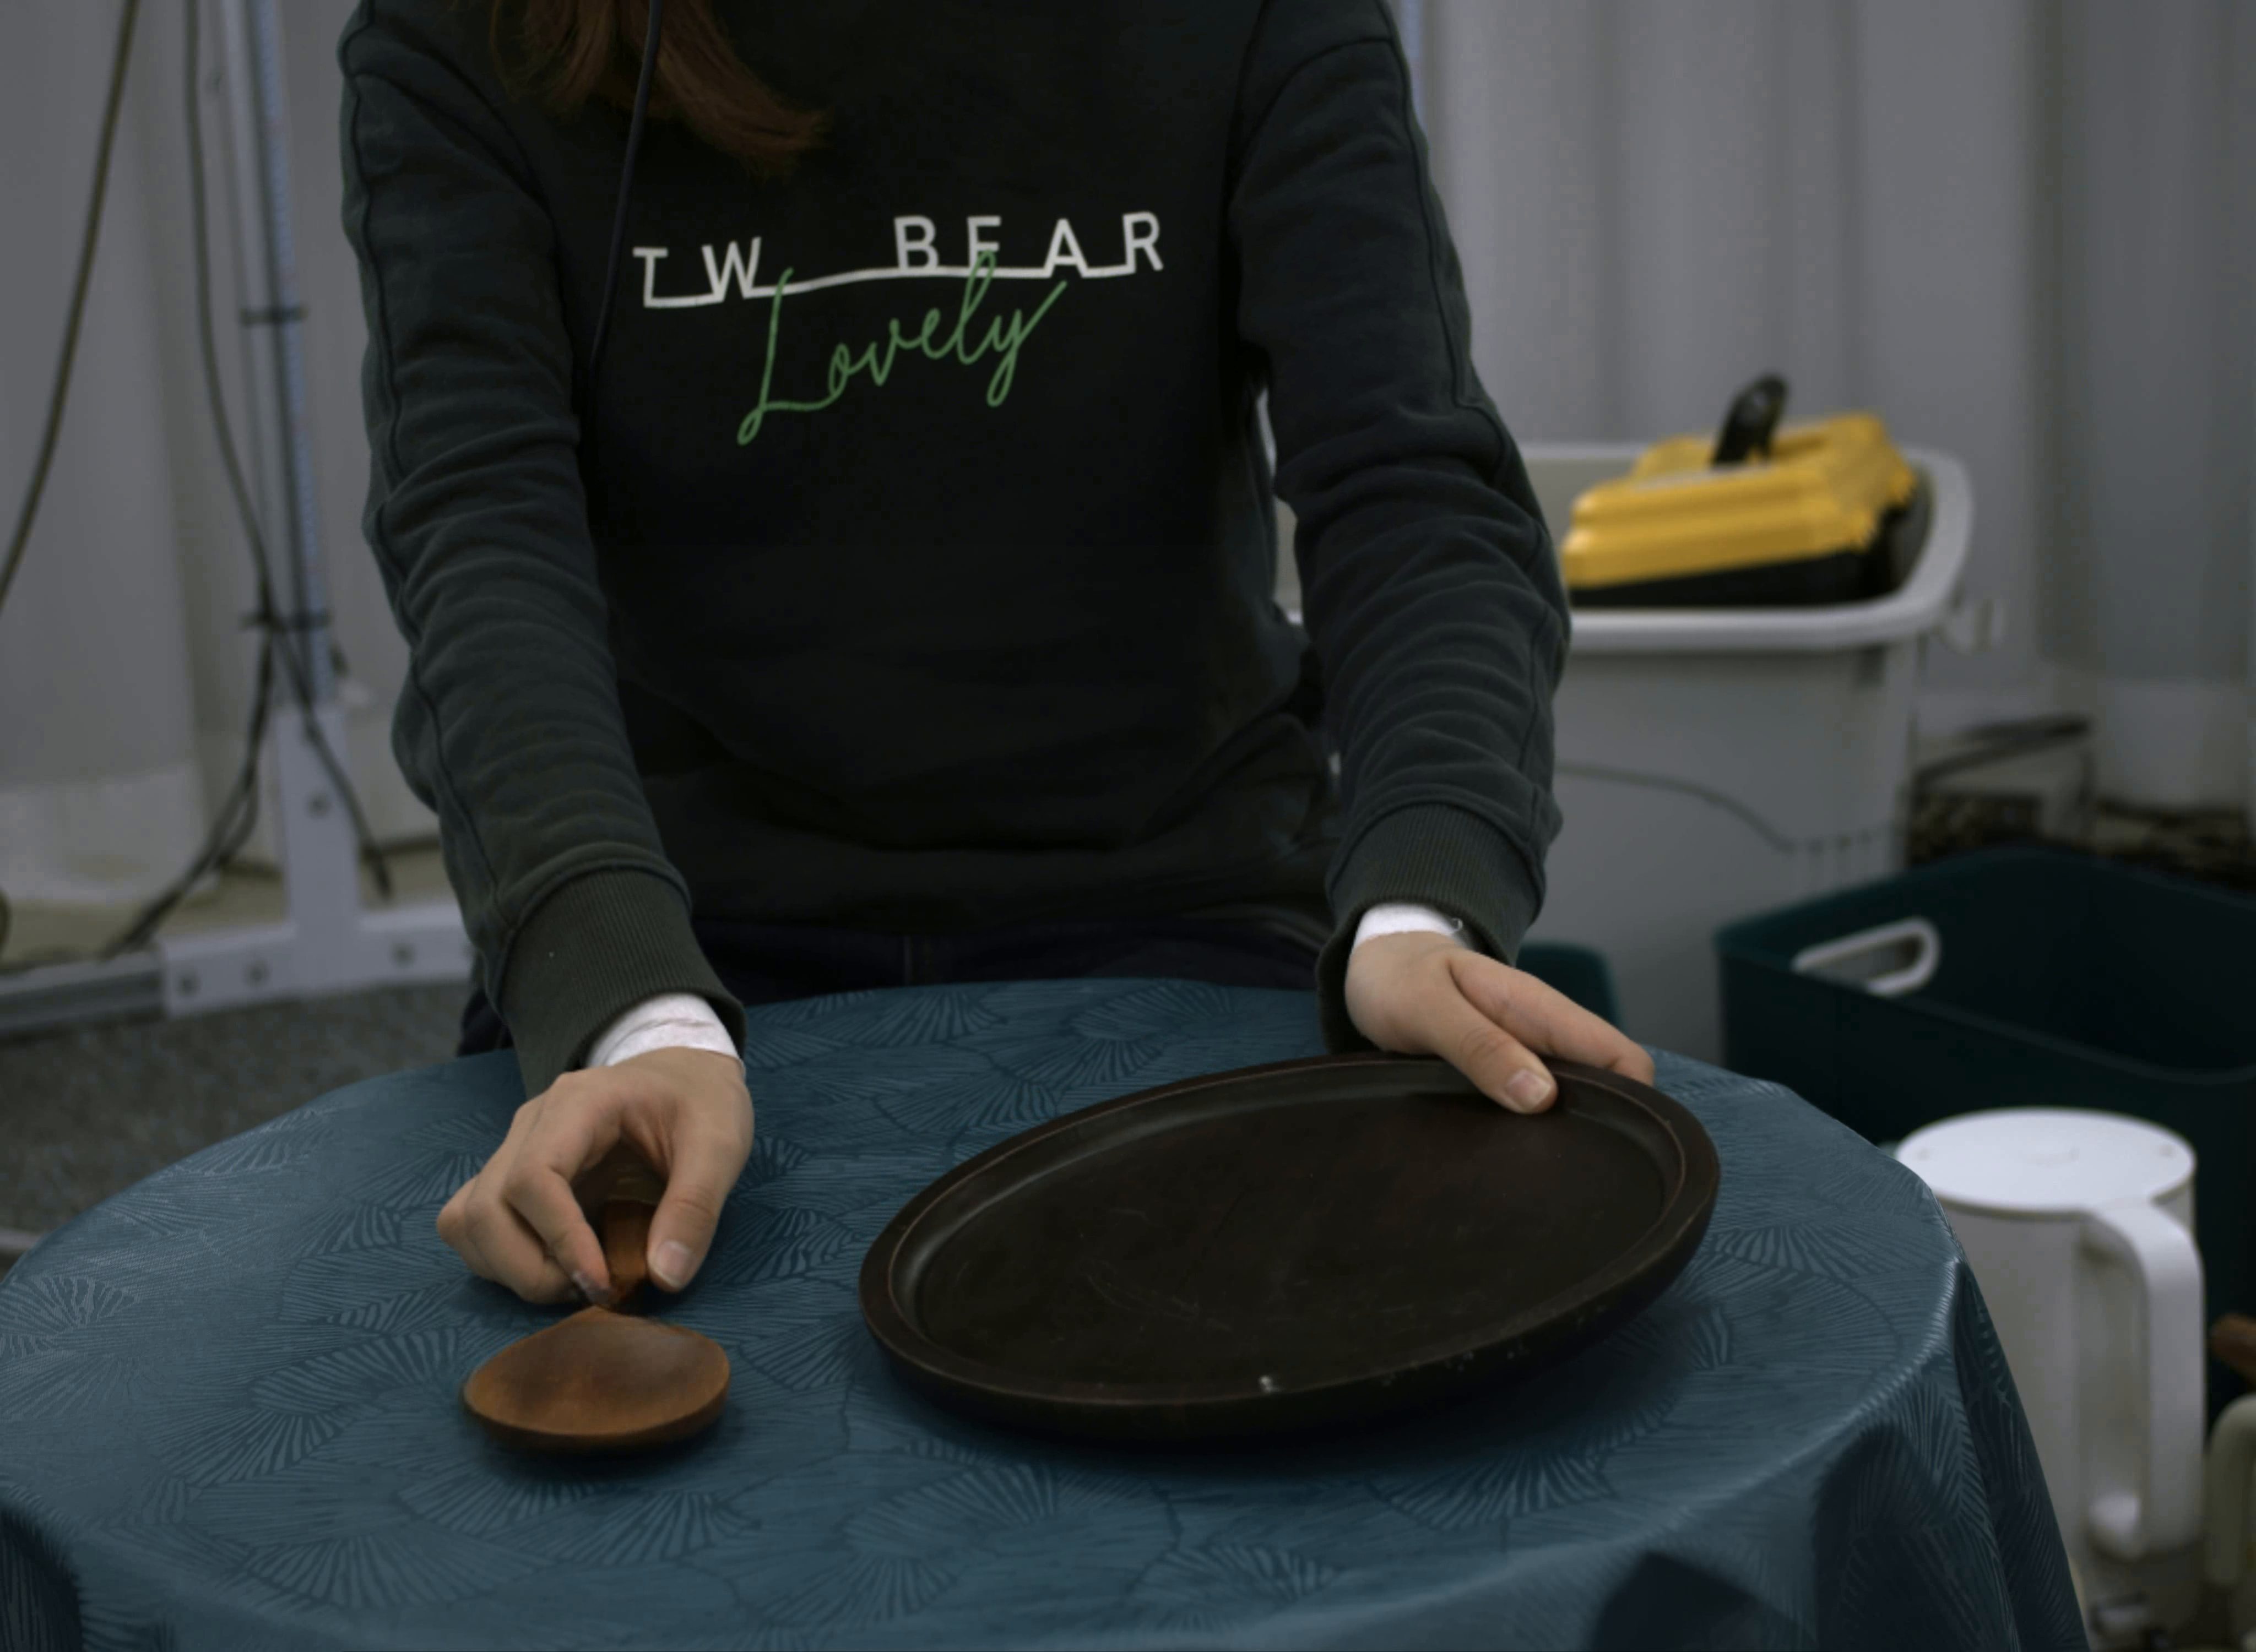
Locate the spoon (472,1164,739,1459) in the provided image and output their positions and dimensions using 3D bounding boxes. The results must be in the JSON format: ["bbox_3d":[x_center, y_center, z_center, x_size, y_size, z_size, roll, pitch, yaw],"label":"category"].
[{"bbox_3d":[-0.148,0.143,1.596,0.075,0.017,0.217,-3,17,-1],"label":"spoon"}]

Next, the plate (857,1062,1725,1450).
[{"bbox_3d":[0.047,0.122,1.584,0.254,0.029,0.257,-8,18,2],"label":"plate"}]
